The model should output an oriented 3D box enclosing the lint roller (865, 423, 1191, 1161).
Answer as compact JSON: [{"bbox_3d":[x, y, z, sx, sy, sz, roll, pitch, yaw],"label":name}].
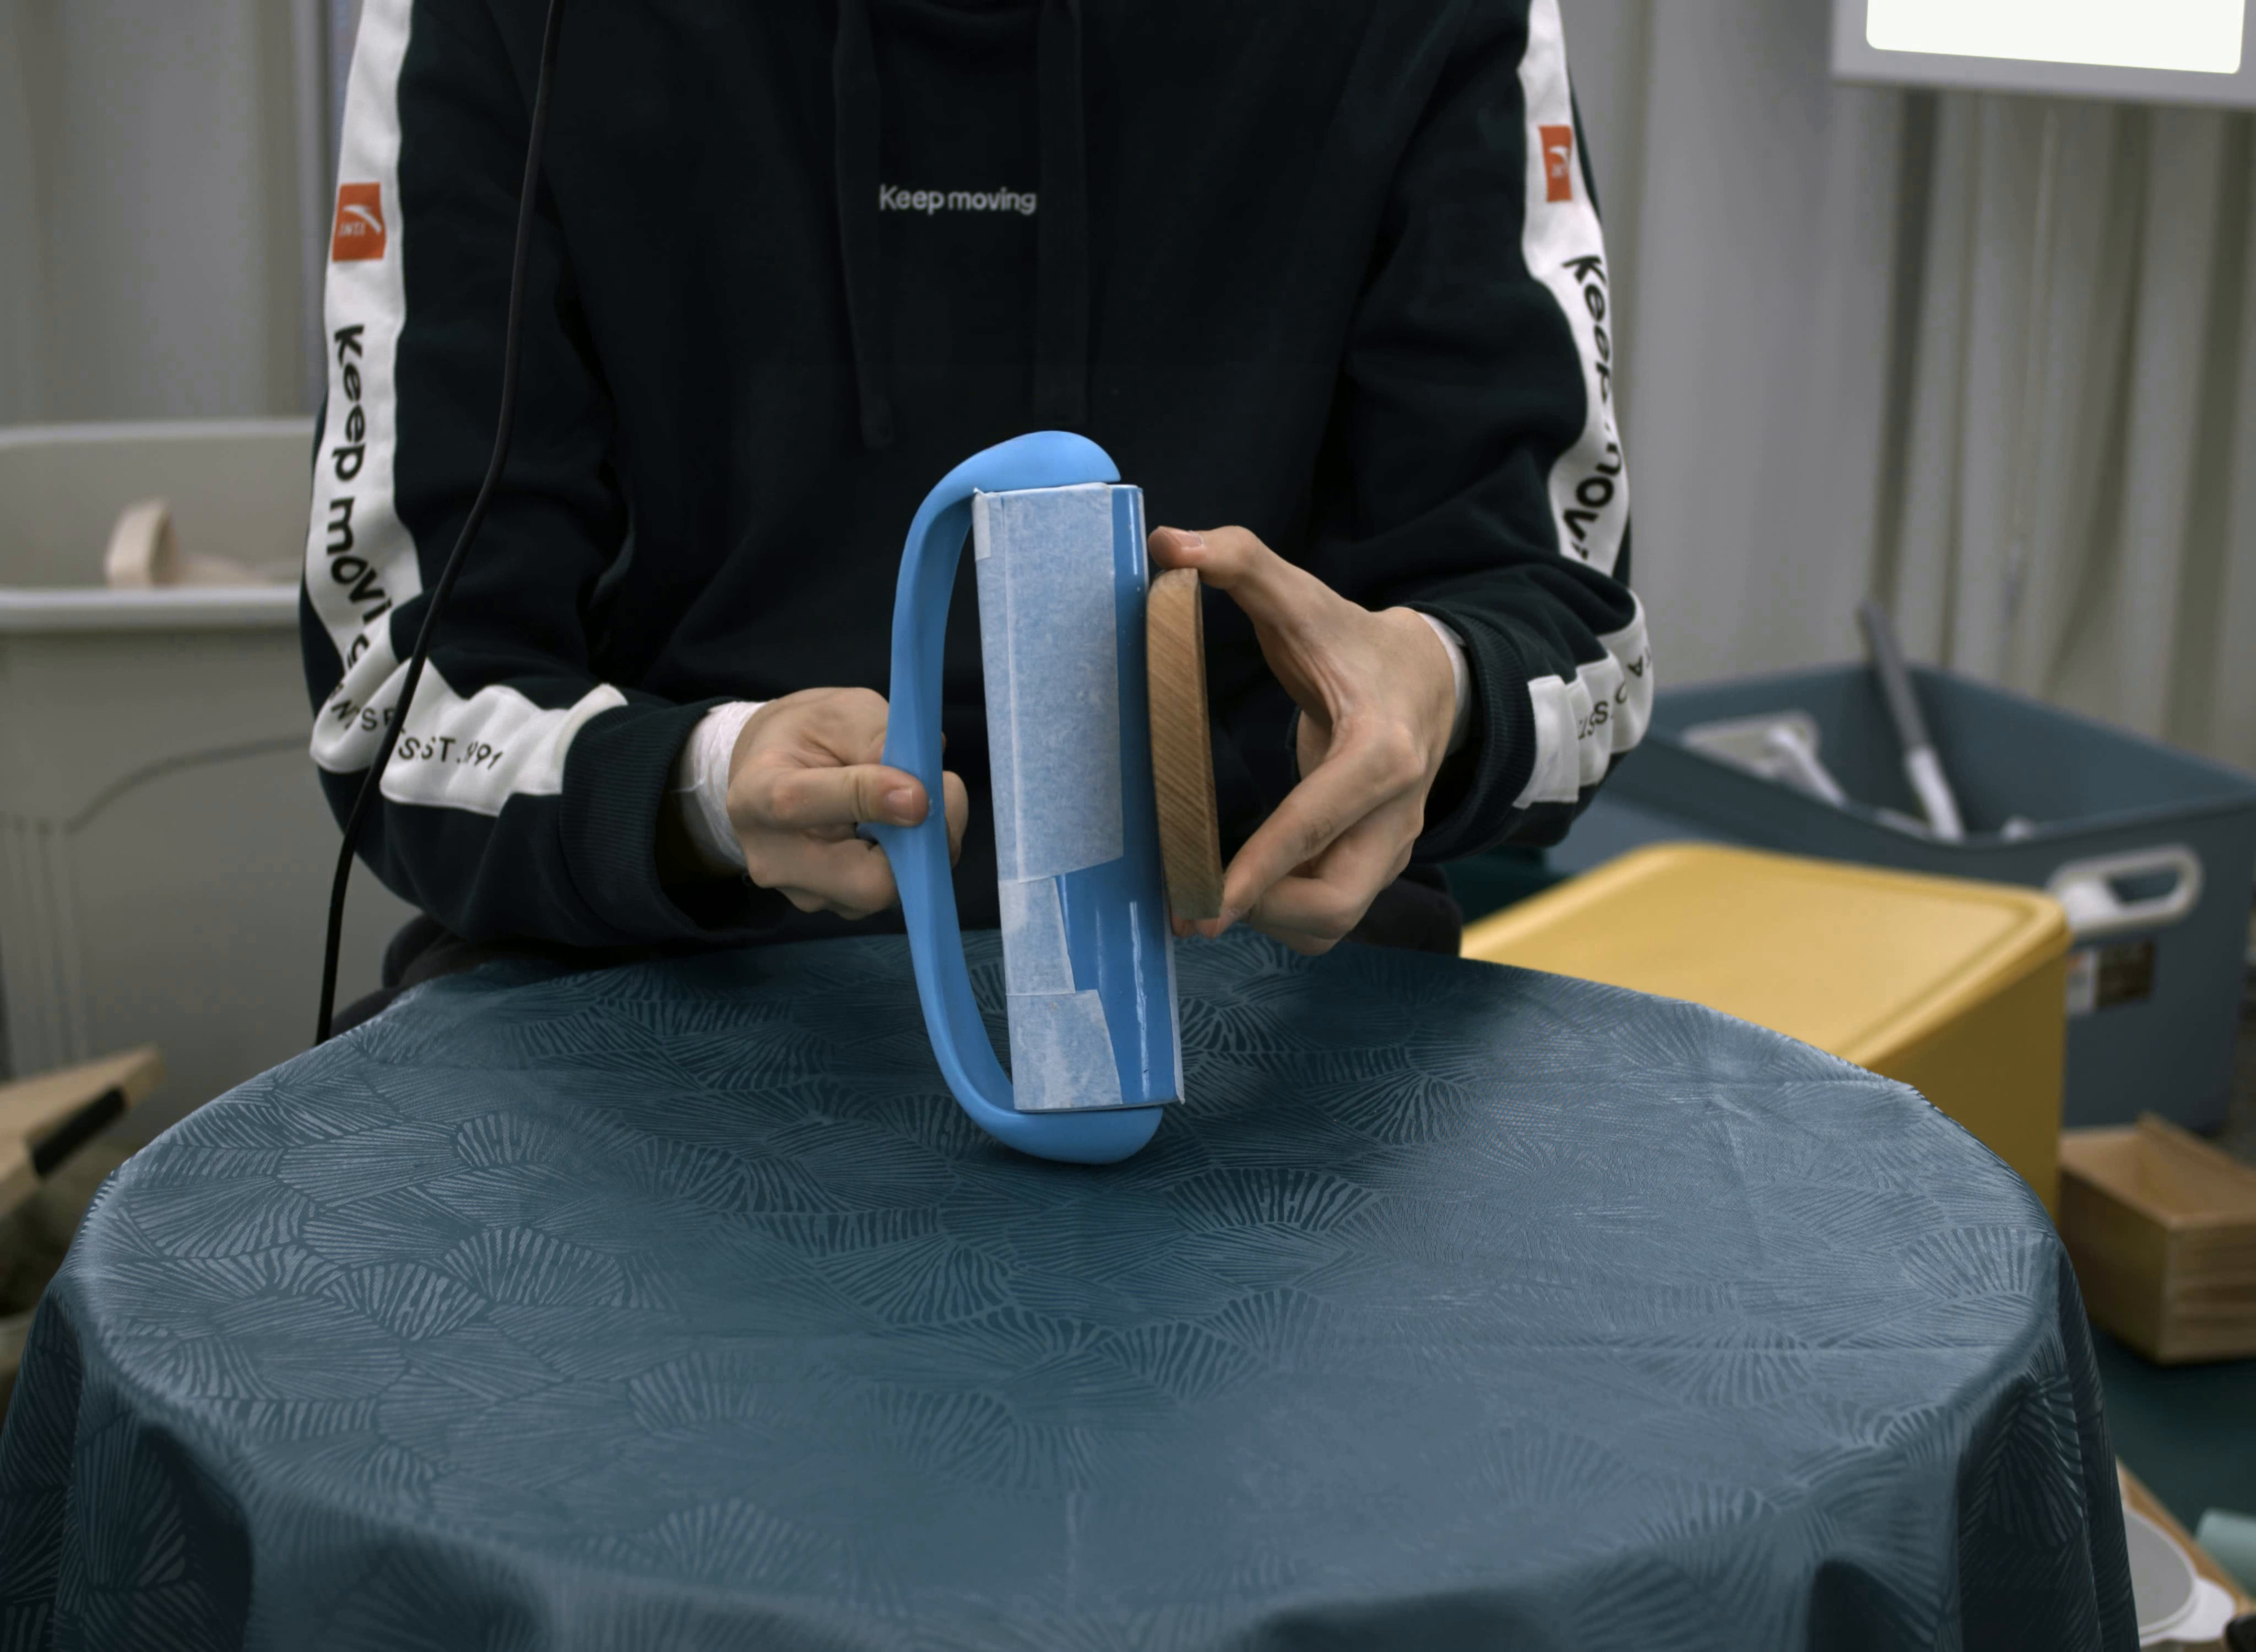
[{"bbox_3d":[-0.049,-0.005,1.683,0.068,0.229,0.179,-7,-1,-34],"label":"lint roller"}]

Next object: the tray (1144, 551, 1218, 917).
[{"bbox_3d":[0.016,-0.030,1.615,0.020,0.102,0.230,-3,6,0],"label":"tray"}]
